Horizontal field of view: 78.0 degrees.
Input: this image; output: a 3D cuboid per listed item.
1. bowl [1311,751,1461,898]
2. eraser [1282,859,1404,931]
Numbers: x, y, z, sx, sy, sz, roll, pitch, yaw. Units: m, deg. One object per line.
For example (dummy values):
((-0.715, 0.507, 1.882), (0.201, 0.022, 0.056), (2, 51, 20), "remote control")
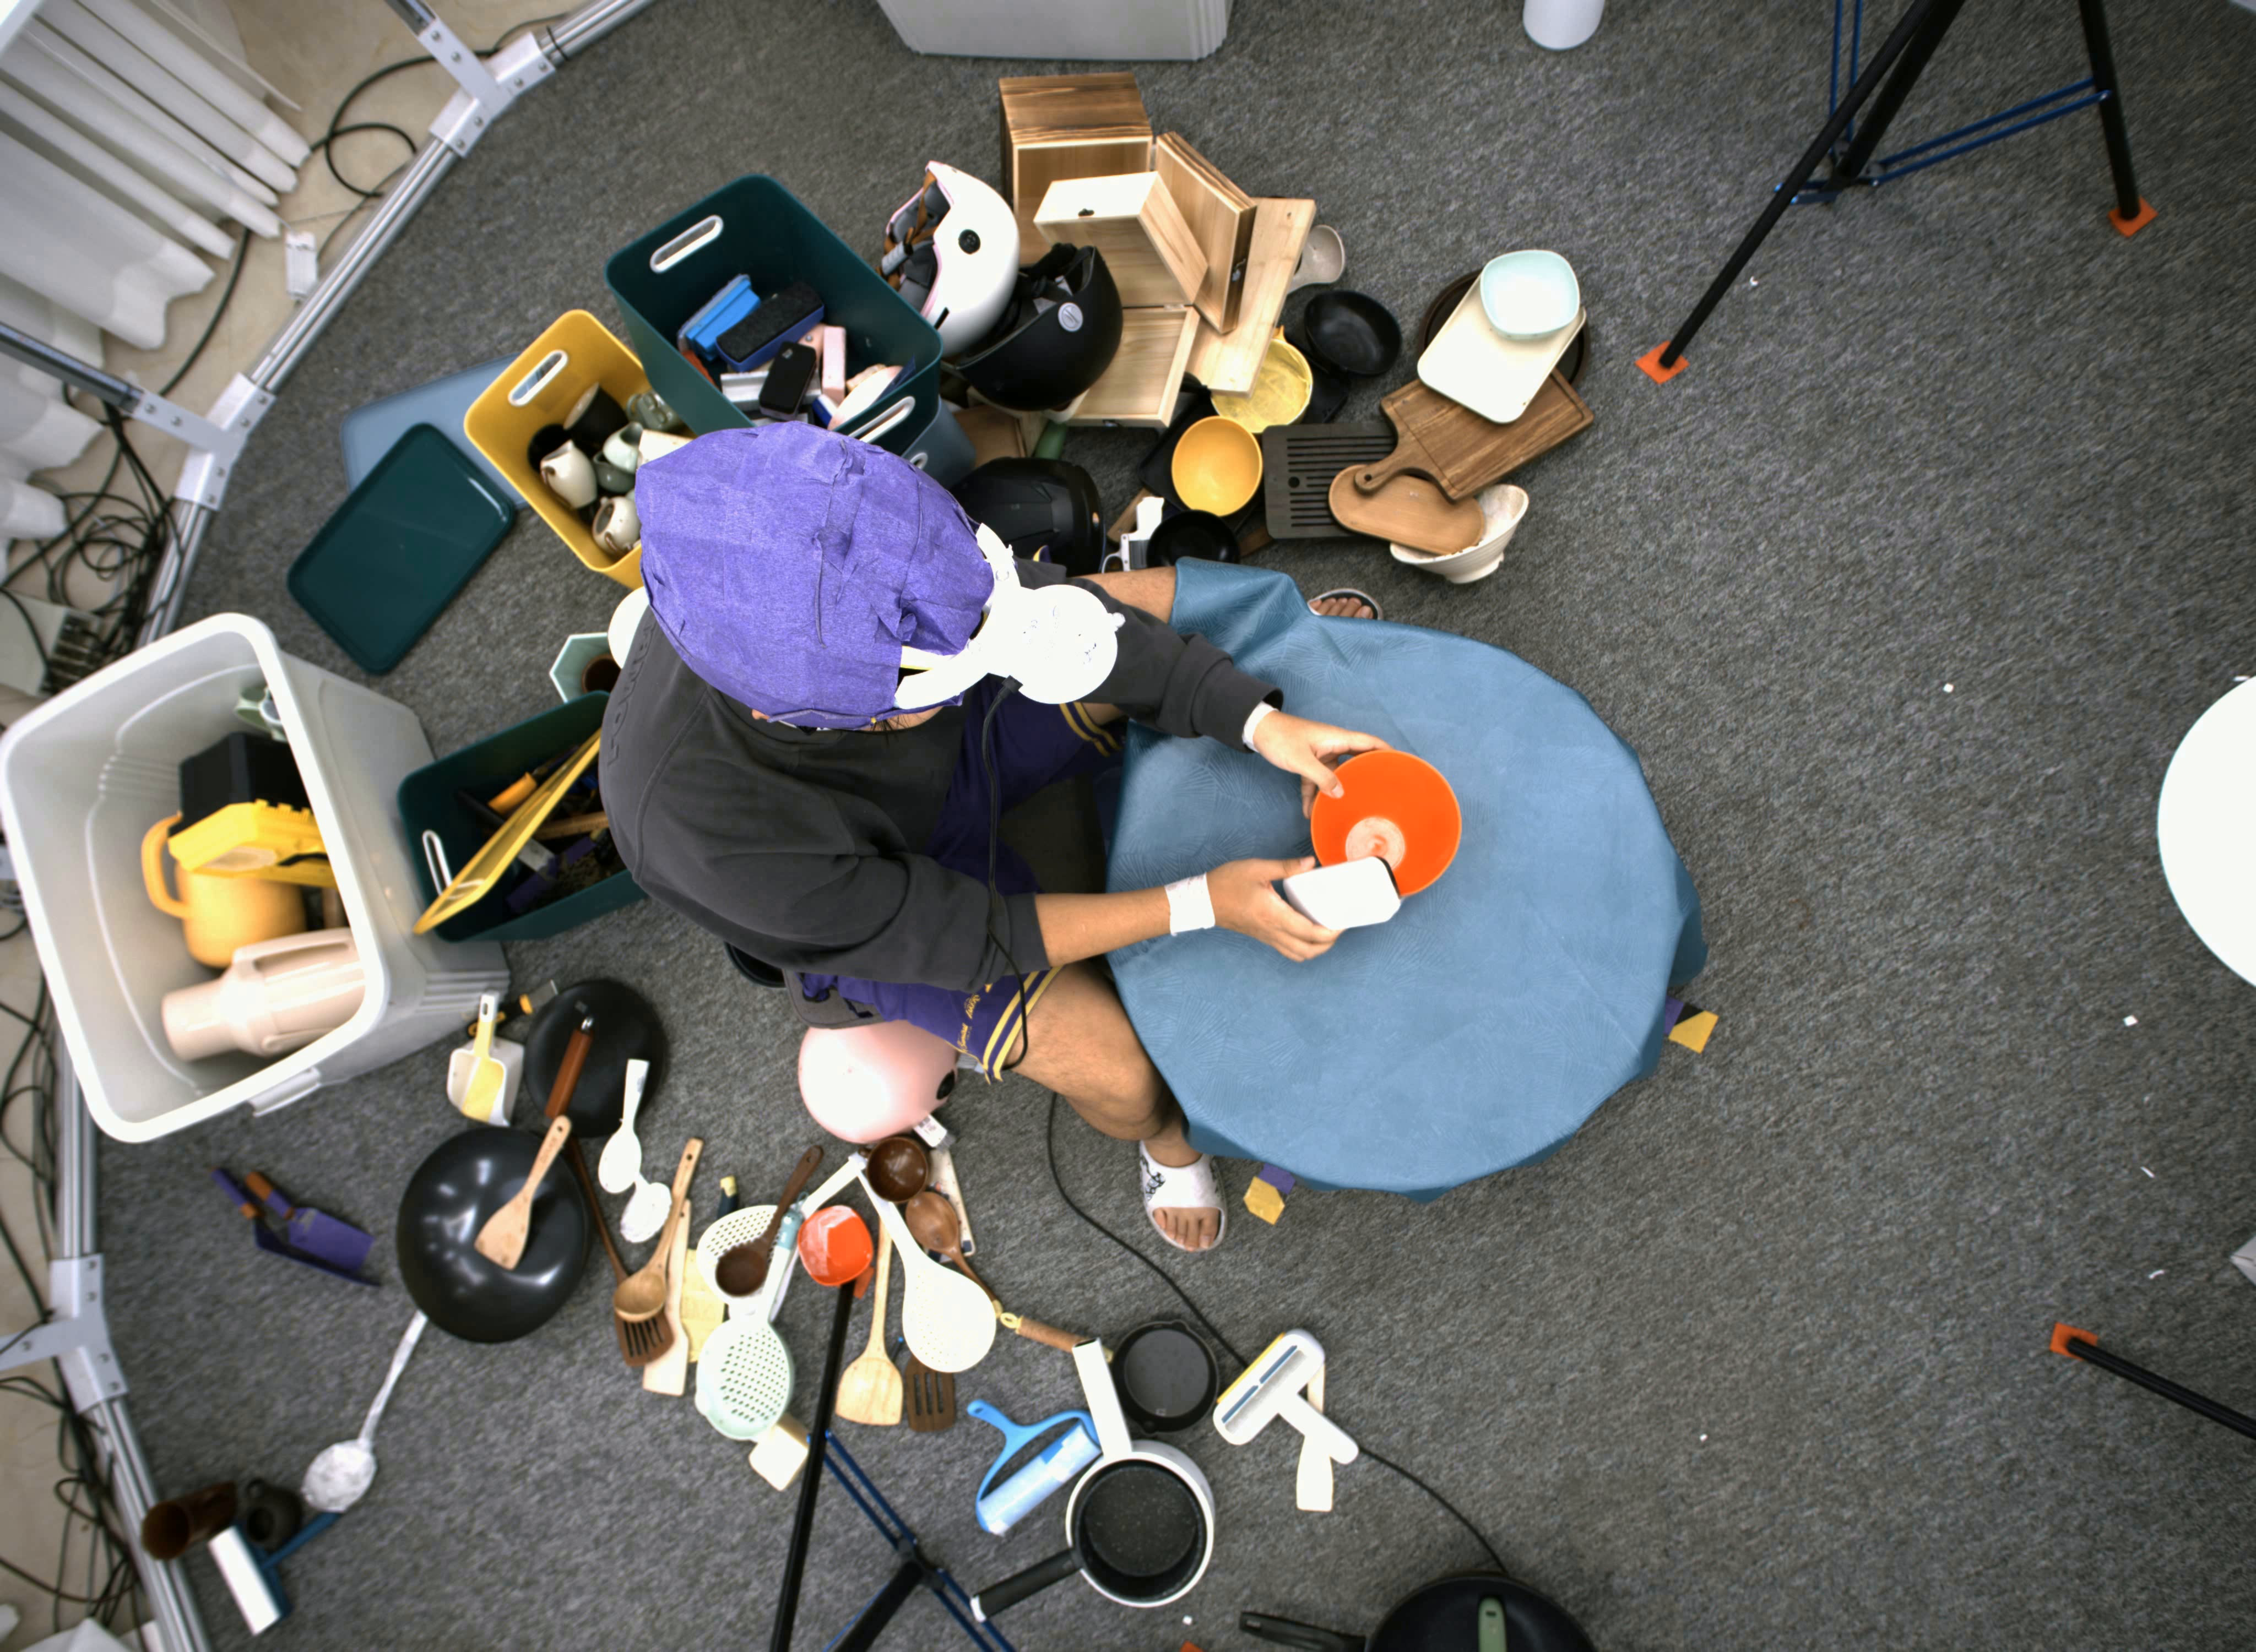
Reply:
((0.261, 0.004, 1.413), (0.148, 0.105, 0.147), (-1, 83, 7), "bowl")
((0.209, 0.066, 1.364), (0.133, 0.034, 0.064), (-11, 103, 49), "eraser")
